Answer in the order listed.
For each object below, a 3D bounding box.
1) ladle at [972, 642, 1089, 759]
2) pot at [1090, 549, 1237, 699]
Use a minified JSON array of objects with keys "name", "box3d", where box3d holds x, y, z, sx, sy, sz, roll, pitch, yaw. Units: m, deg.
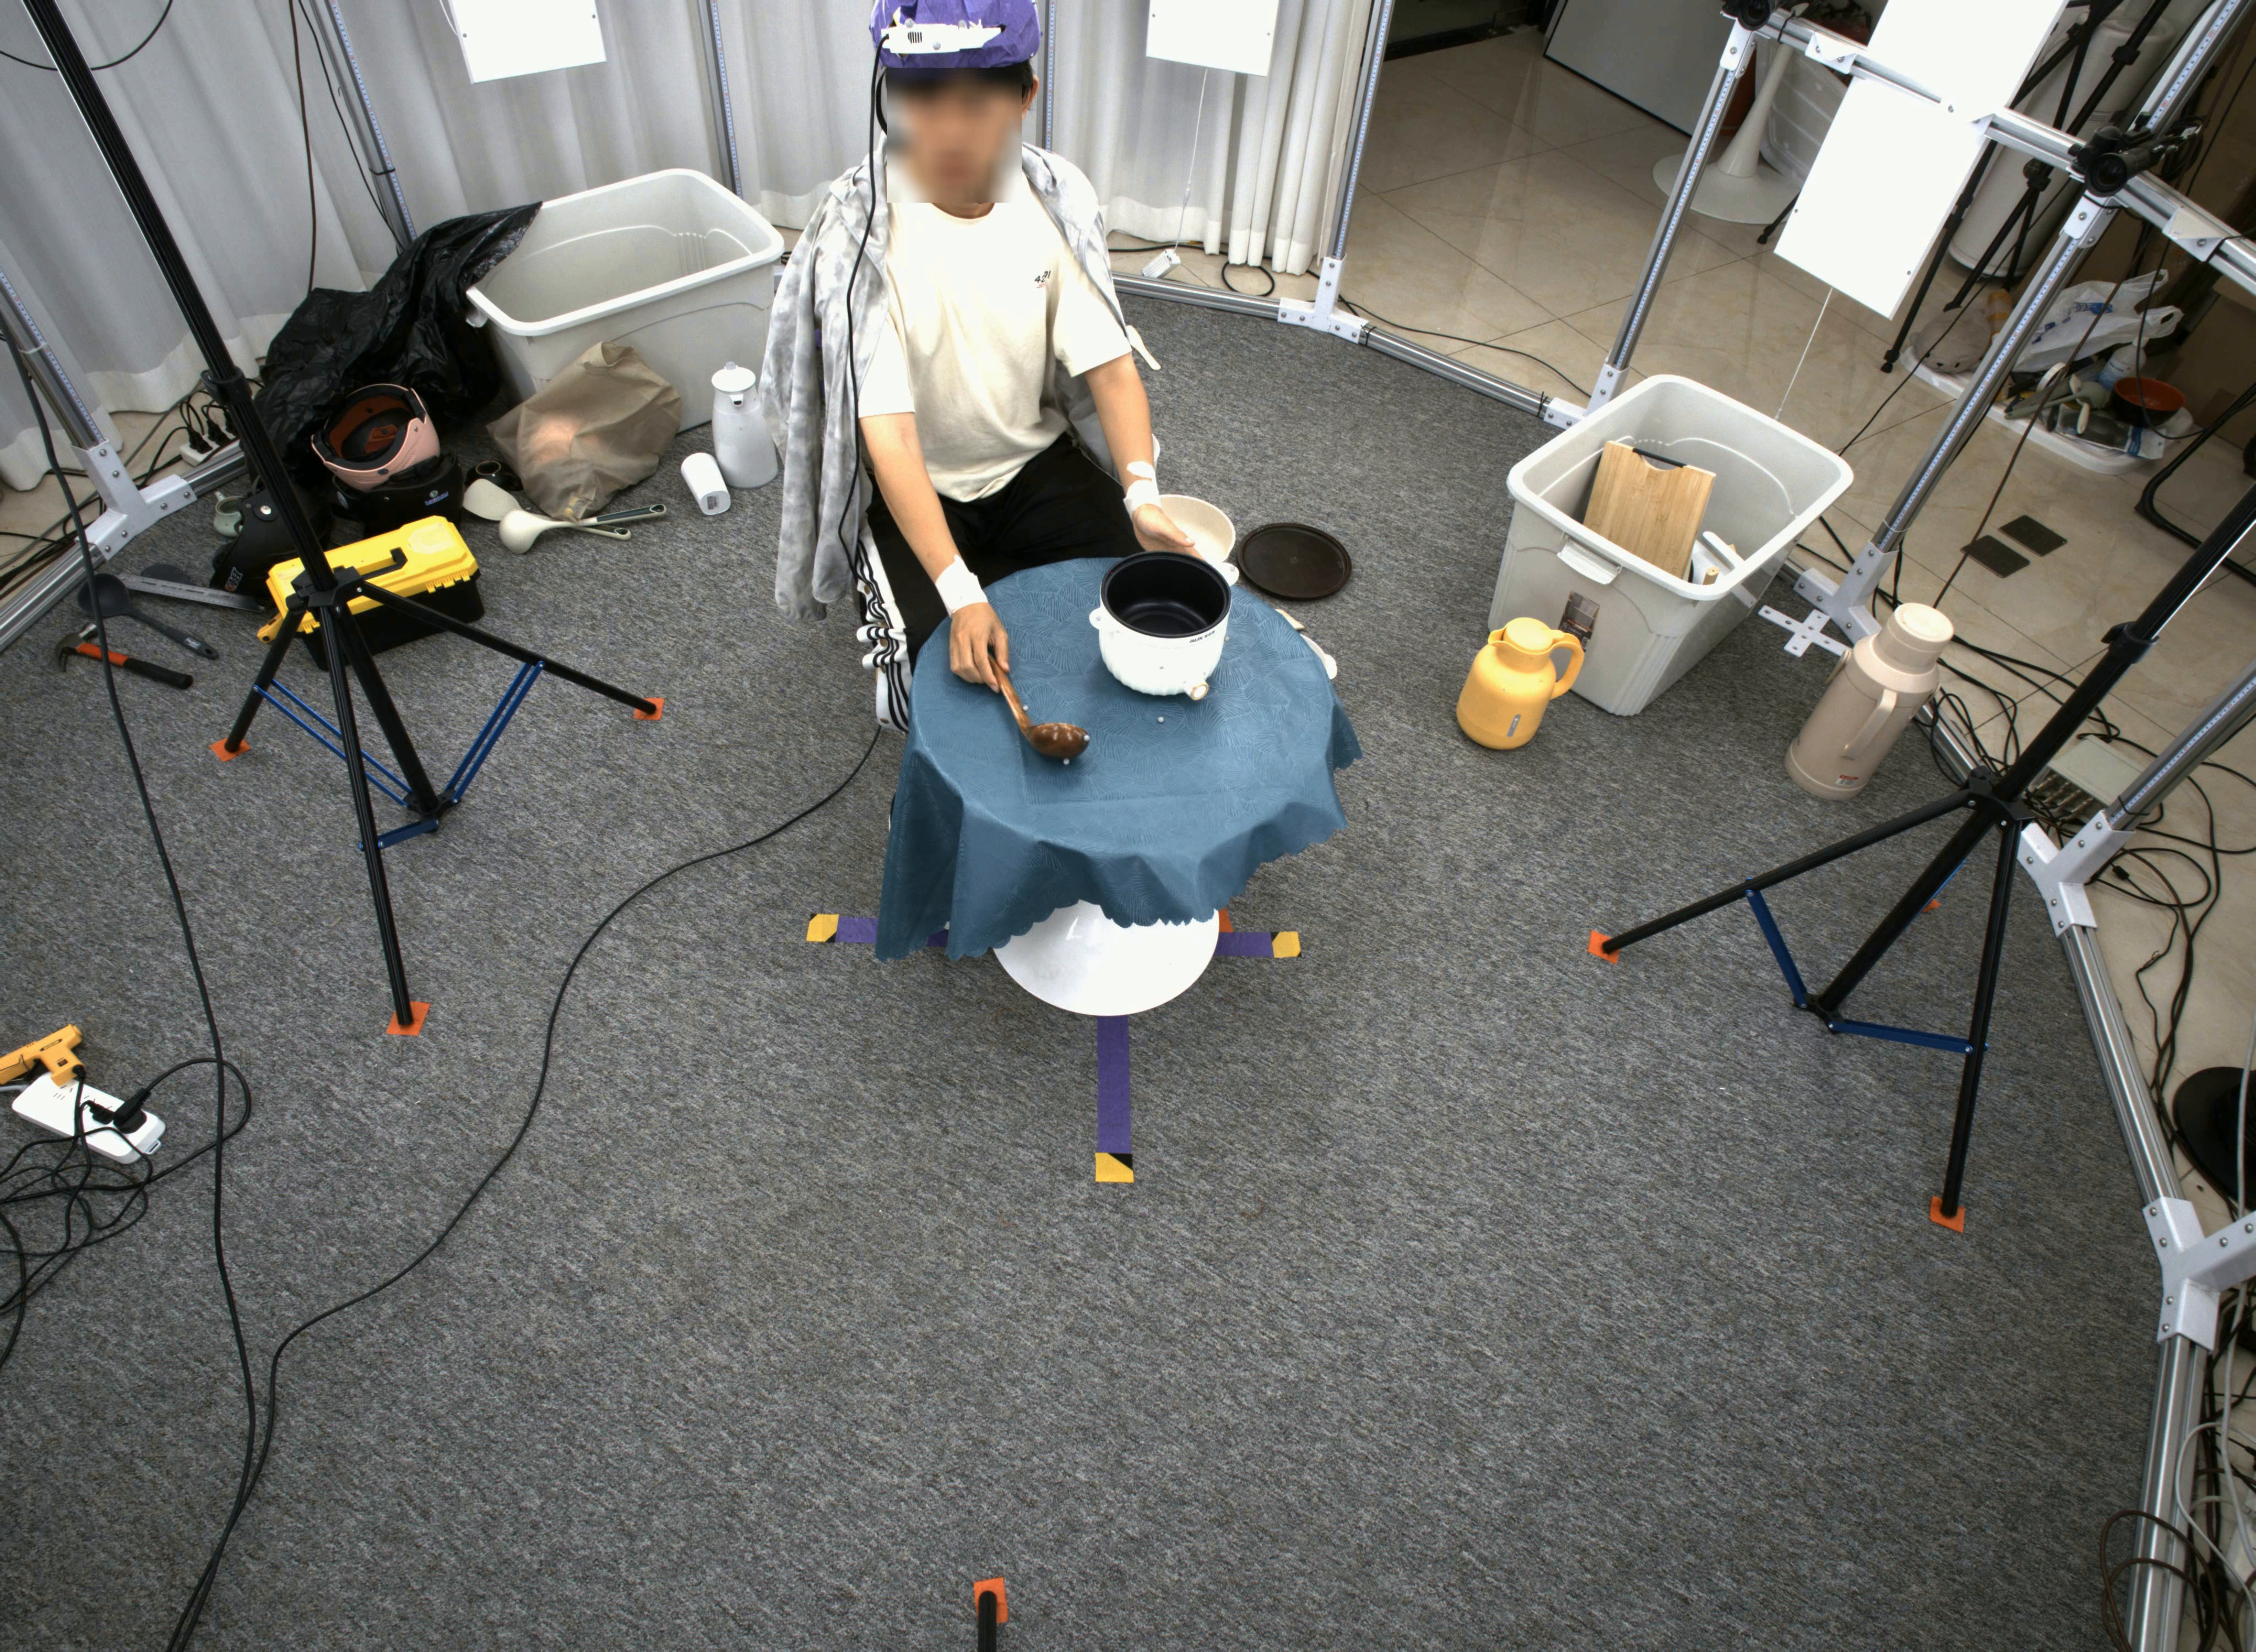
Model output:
[{"name":"ladle","box3d":[-0.138,-0.189,1.769,0.076,0.080,0.280,-40,52,11]},{"name":"pot","box3d":[0.053,-0.278,1.817,0.241,0.139,0.194,-25,52,-22]}]
